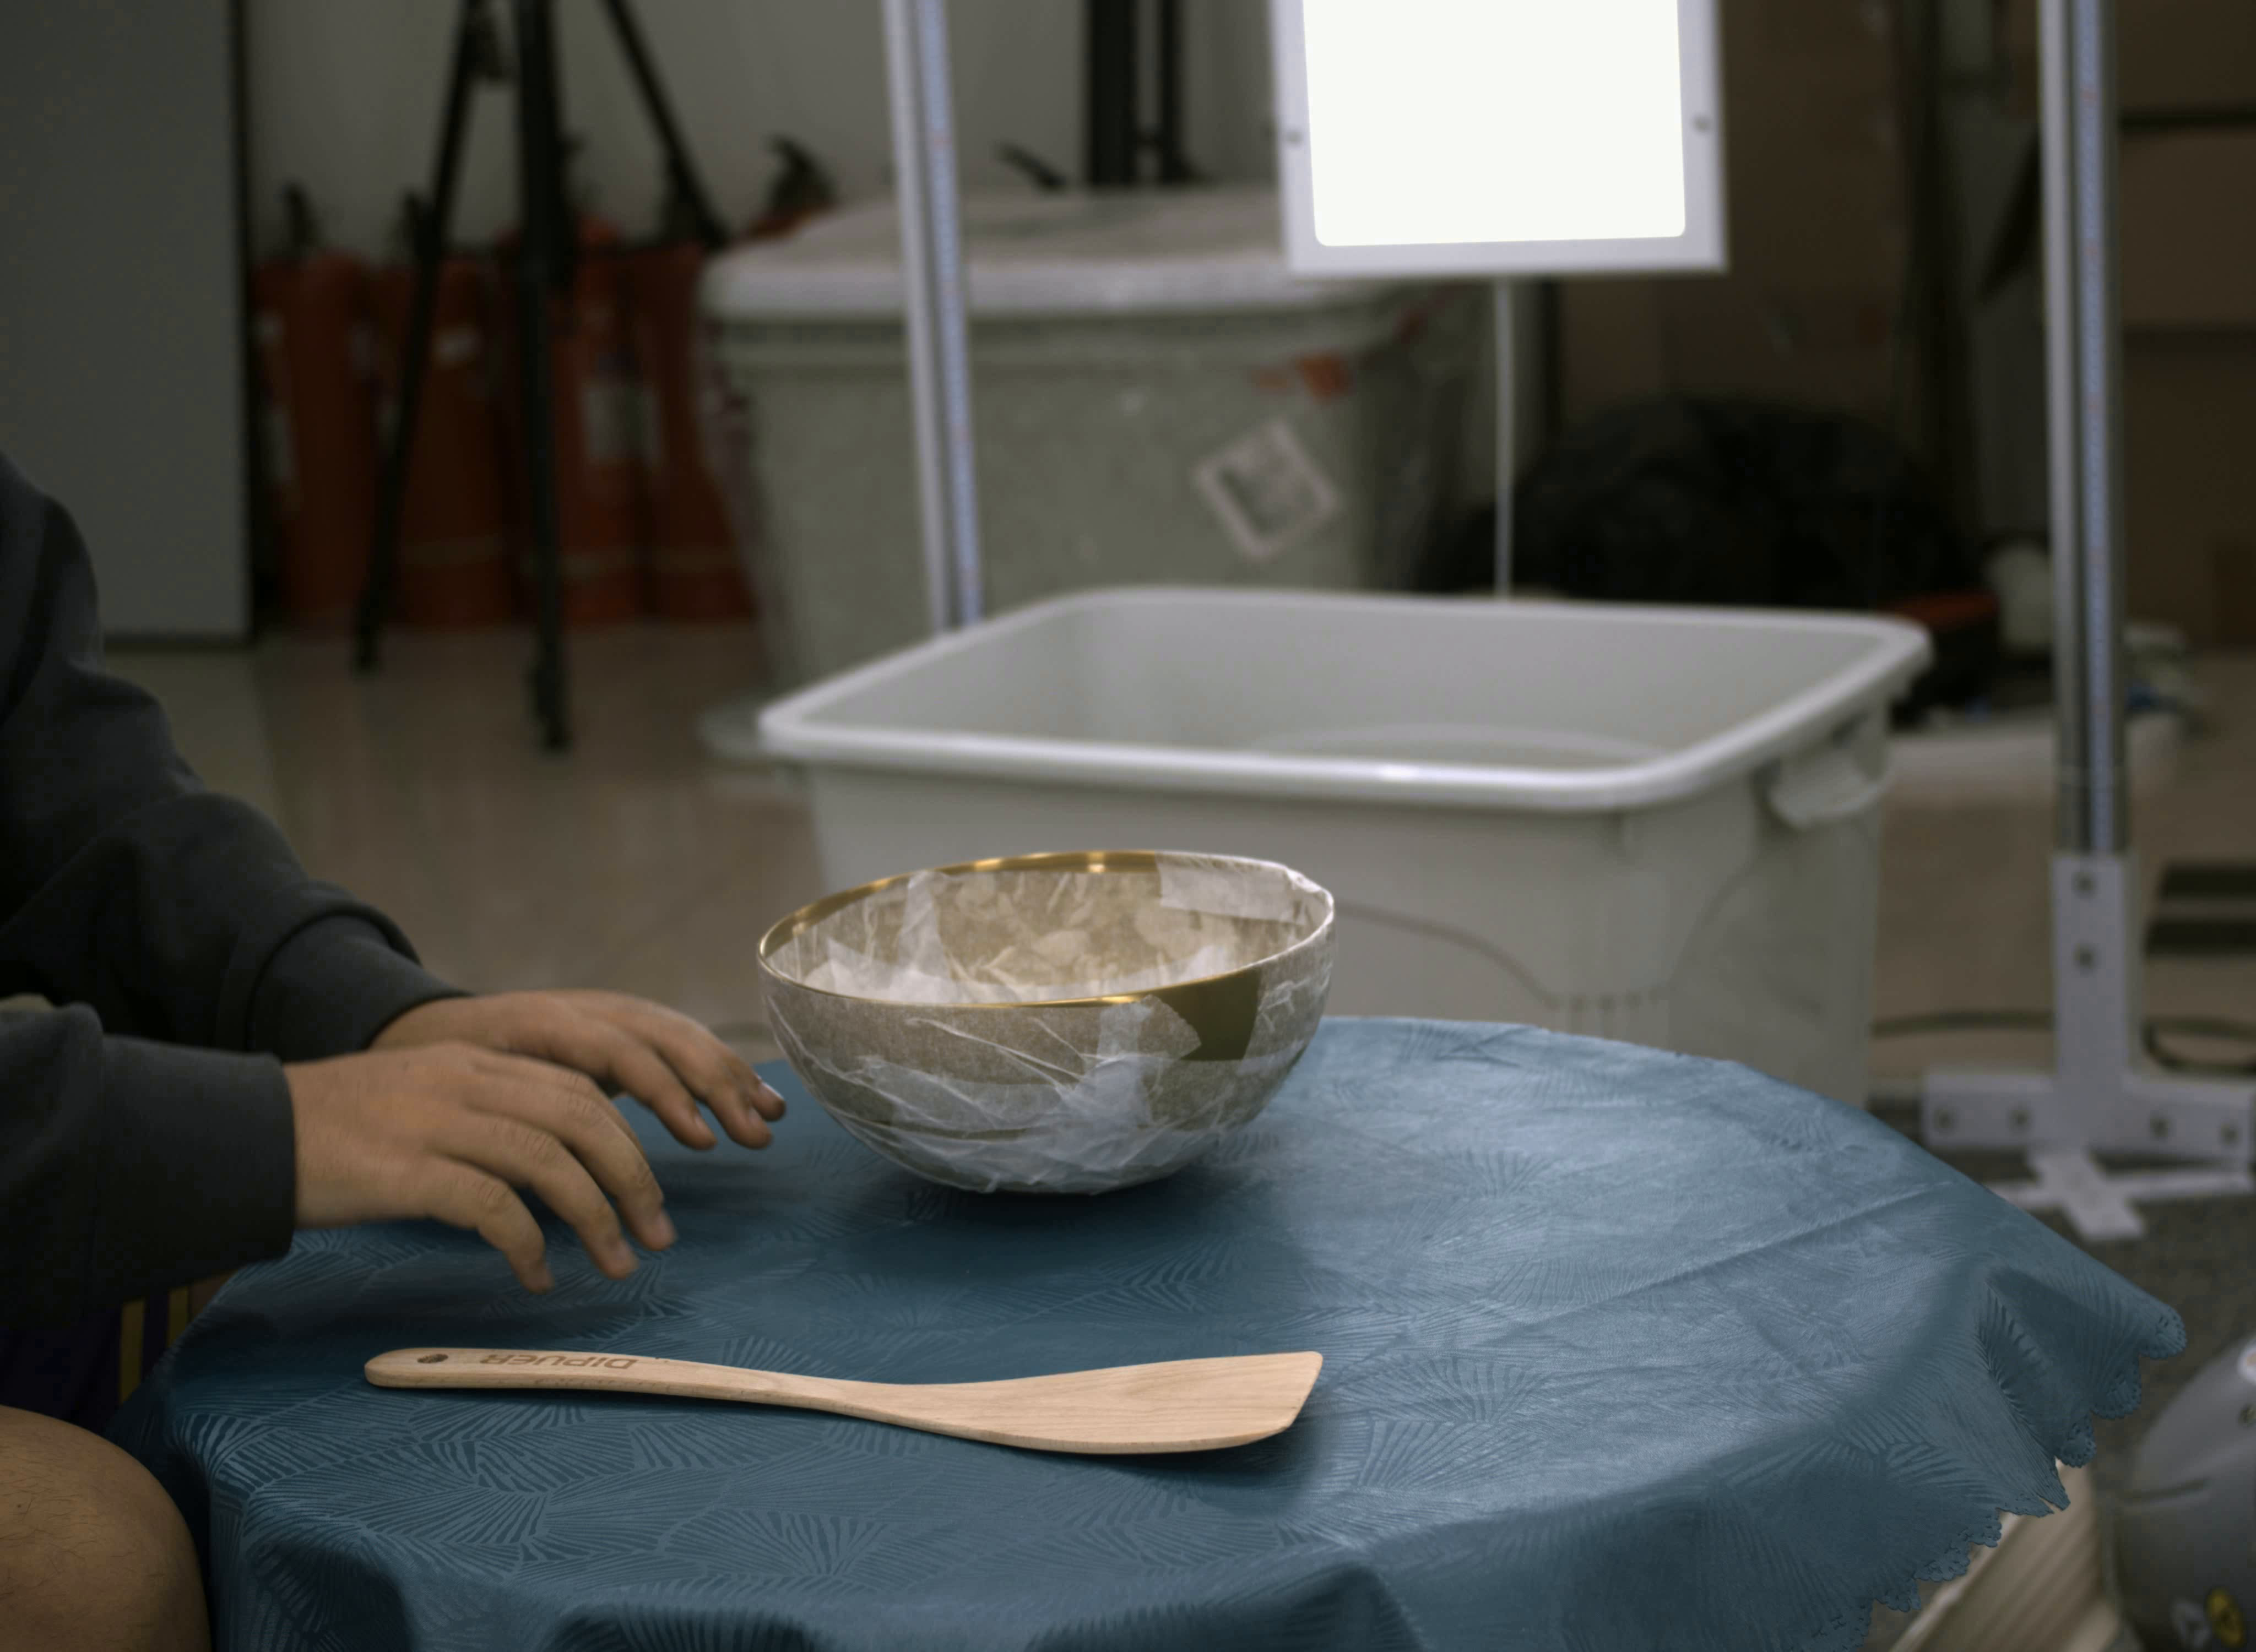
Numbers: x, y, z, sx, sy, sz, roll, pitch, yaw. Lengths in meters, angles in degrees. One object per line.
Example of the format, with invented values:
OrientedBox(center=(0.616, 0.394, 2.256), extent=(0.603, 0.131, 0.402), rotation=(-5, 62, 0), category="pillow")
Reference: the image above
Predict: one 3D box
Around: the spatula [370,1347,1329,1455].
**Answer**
OrientedBox(center=(-0.090, 0.172, 1.710), extent=(0.333, 0.016, 0.078), rotation=(1, 15, 24), category="spatula")

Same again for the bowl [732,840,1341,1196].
OrientedBox(center=(-0.029, 0.074, 1.918), extent=(0.214, 0.095, 0.214), rotation=(-4, 15, 0), category="bowl")
